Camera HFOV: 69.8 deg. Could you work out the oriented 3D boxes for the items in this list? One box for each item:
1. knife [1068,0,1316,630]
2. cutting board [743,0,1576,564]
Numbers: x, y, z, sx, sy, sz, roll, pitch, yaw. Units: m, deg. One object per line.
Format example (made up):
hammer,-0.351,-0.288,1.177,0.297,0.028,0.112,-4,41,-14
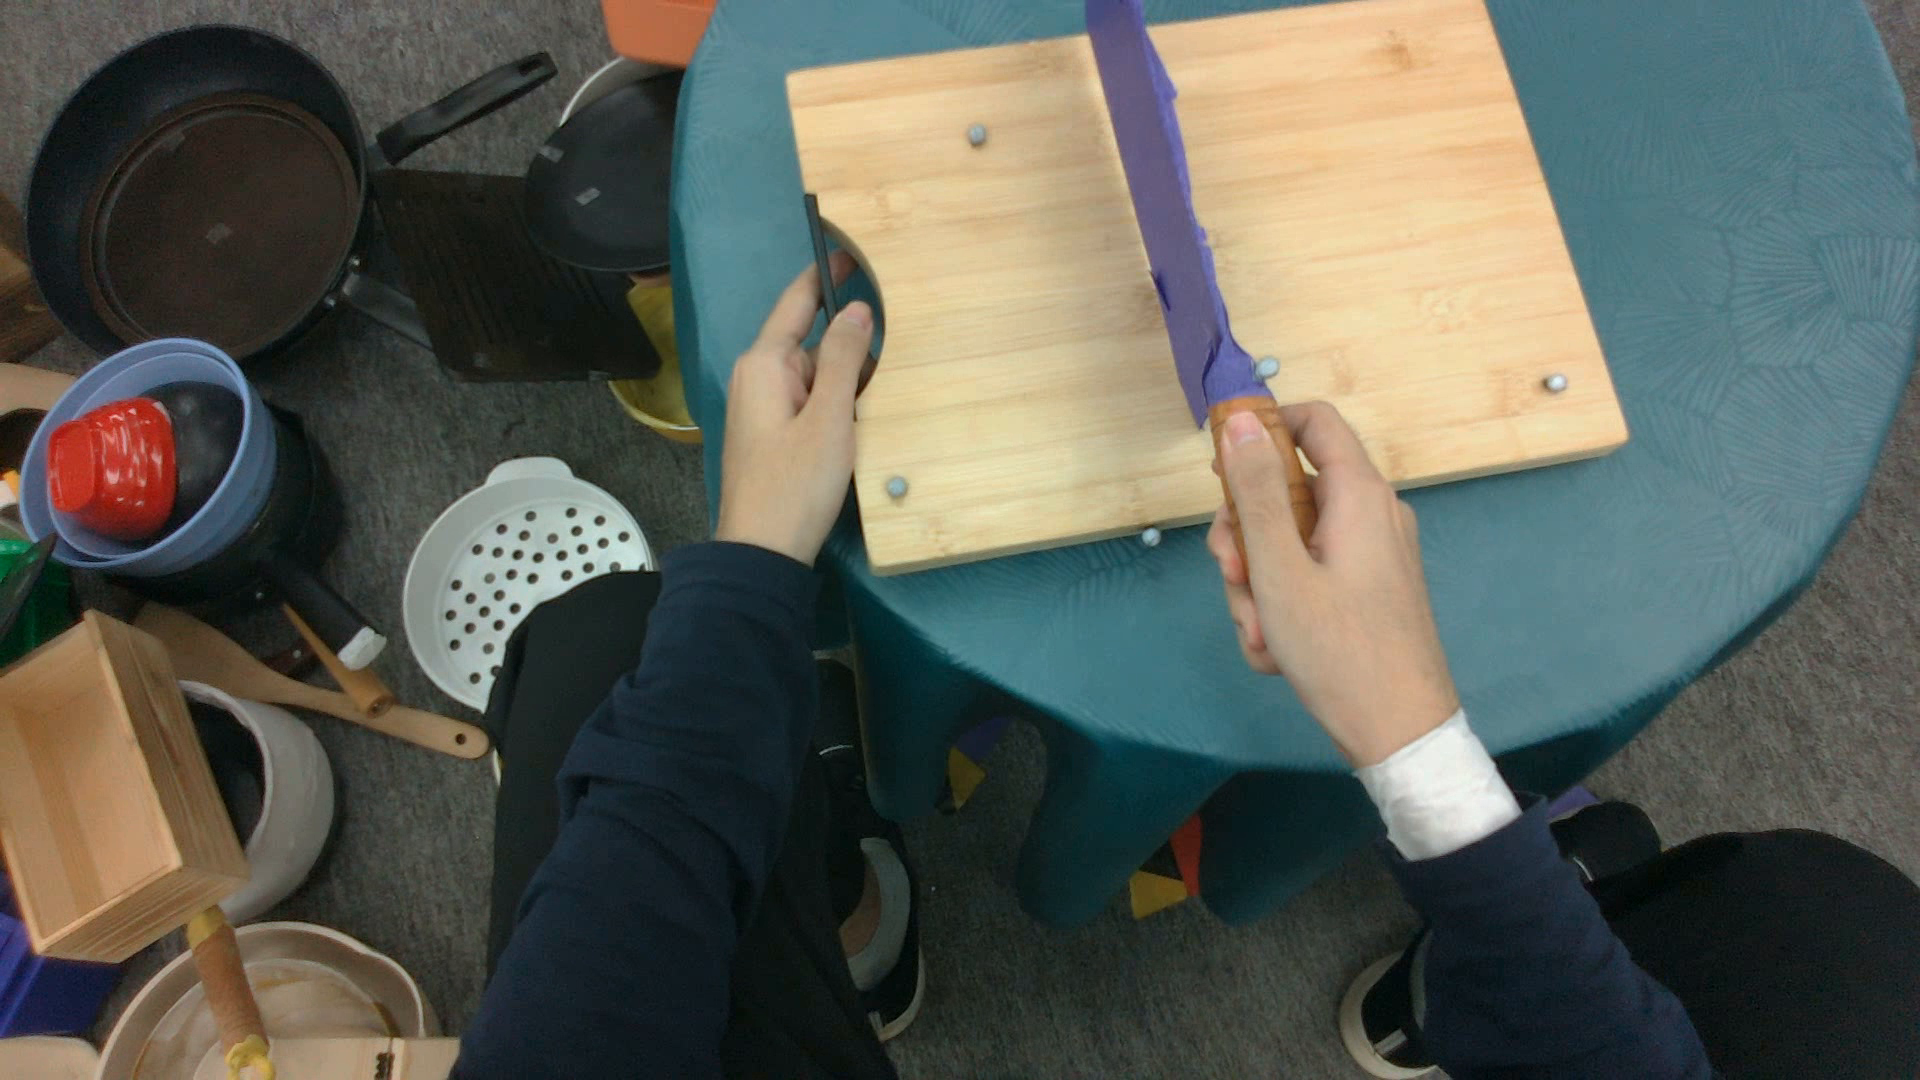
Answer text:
knife,0.088,-0.113,0.568,0.032,0.103,0.316,-11,77,-1
cutting board,0.091,-0.132,0.635,0.349,0.023,0.251,-10,74,-8
